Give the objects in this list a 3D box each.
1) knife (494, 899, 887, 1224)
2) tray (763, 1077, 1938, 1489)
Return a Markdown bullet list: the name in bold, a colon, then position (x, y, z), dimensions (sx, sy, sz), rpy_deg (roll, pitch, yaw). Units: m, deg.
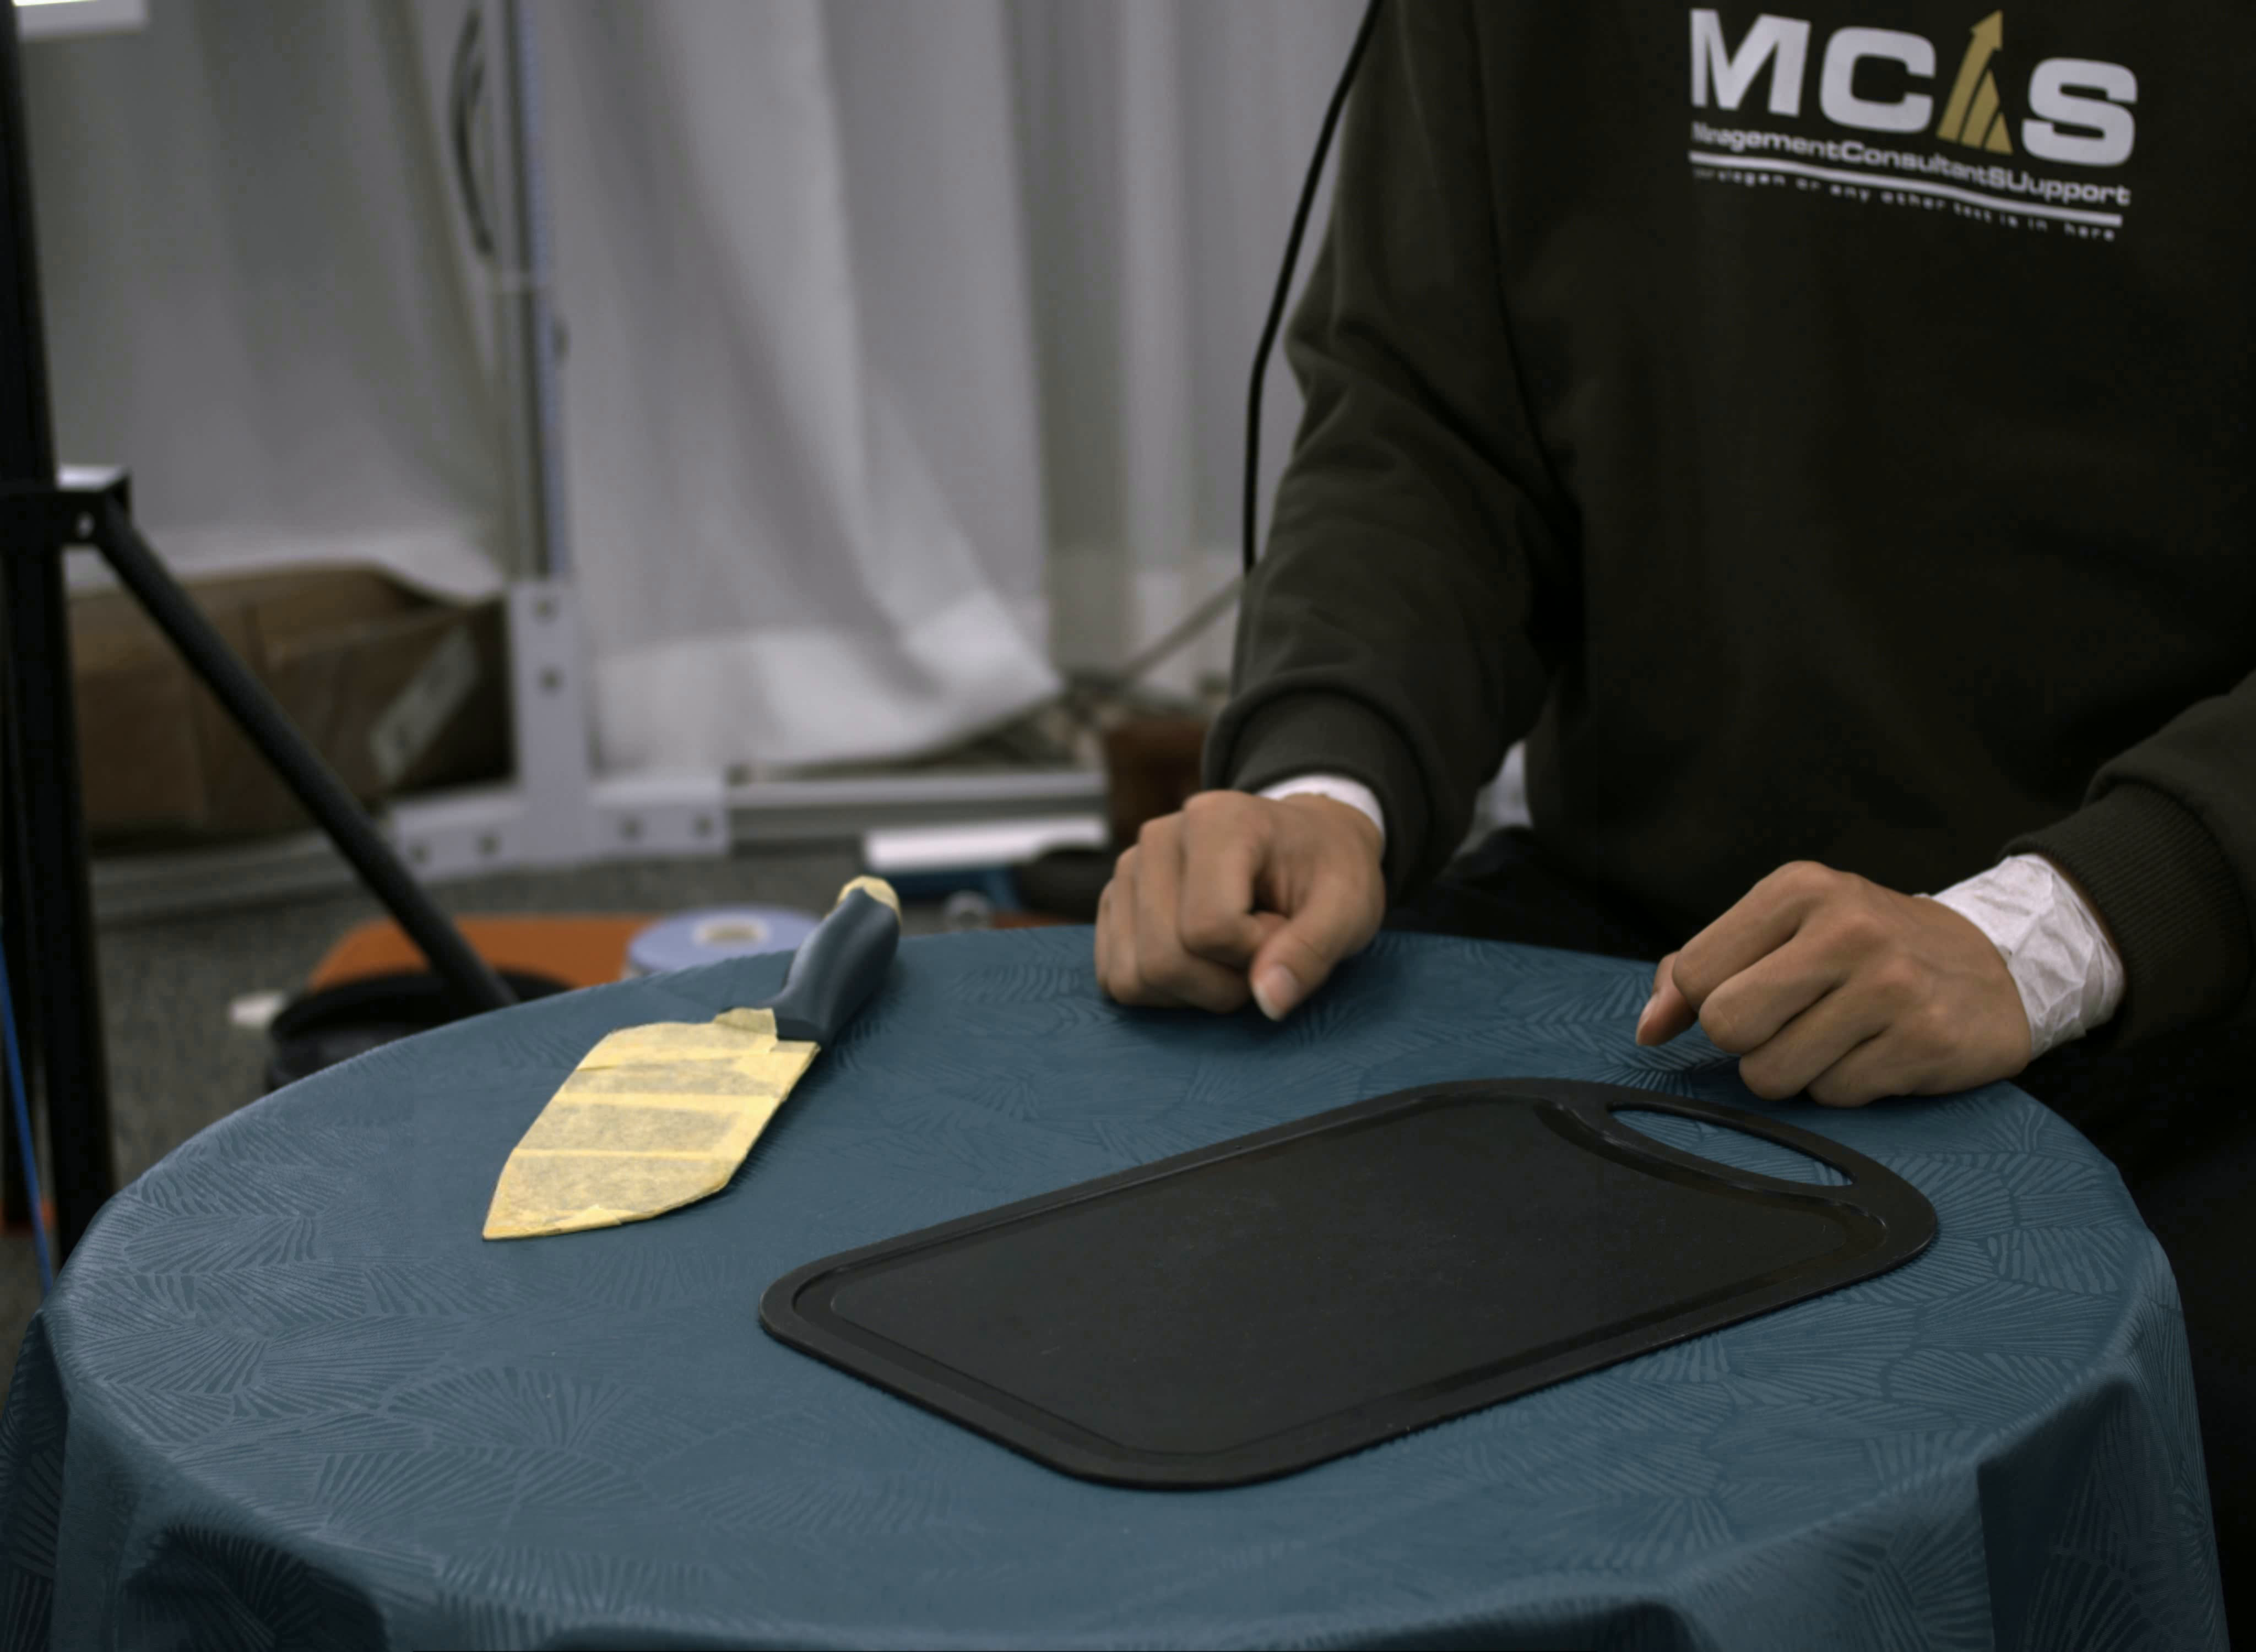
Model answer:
- **knife**: position (-0.133, 0.074, 1.677), dimensions (0.081, 0.027, 0.287), rpy_deg (4, 18, 14)
- **tray**: position (0.071, 0.120, 1.495), dimensions (0.318, 0.010, 0.216), rpy_deg (-13, 19, -34)
